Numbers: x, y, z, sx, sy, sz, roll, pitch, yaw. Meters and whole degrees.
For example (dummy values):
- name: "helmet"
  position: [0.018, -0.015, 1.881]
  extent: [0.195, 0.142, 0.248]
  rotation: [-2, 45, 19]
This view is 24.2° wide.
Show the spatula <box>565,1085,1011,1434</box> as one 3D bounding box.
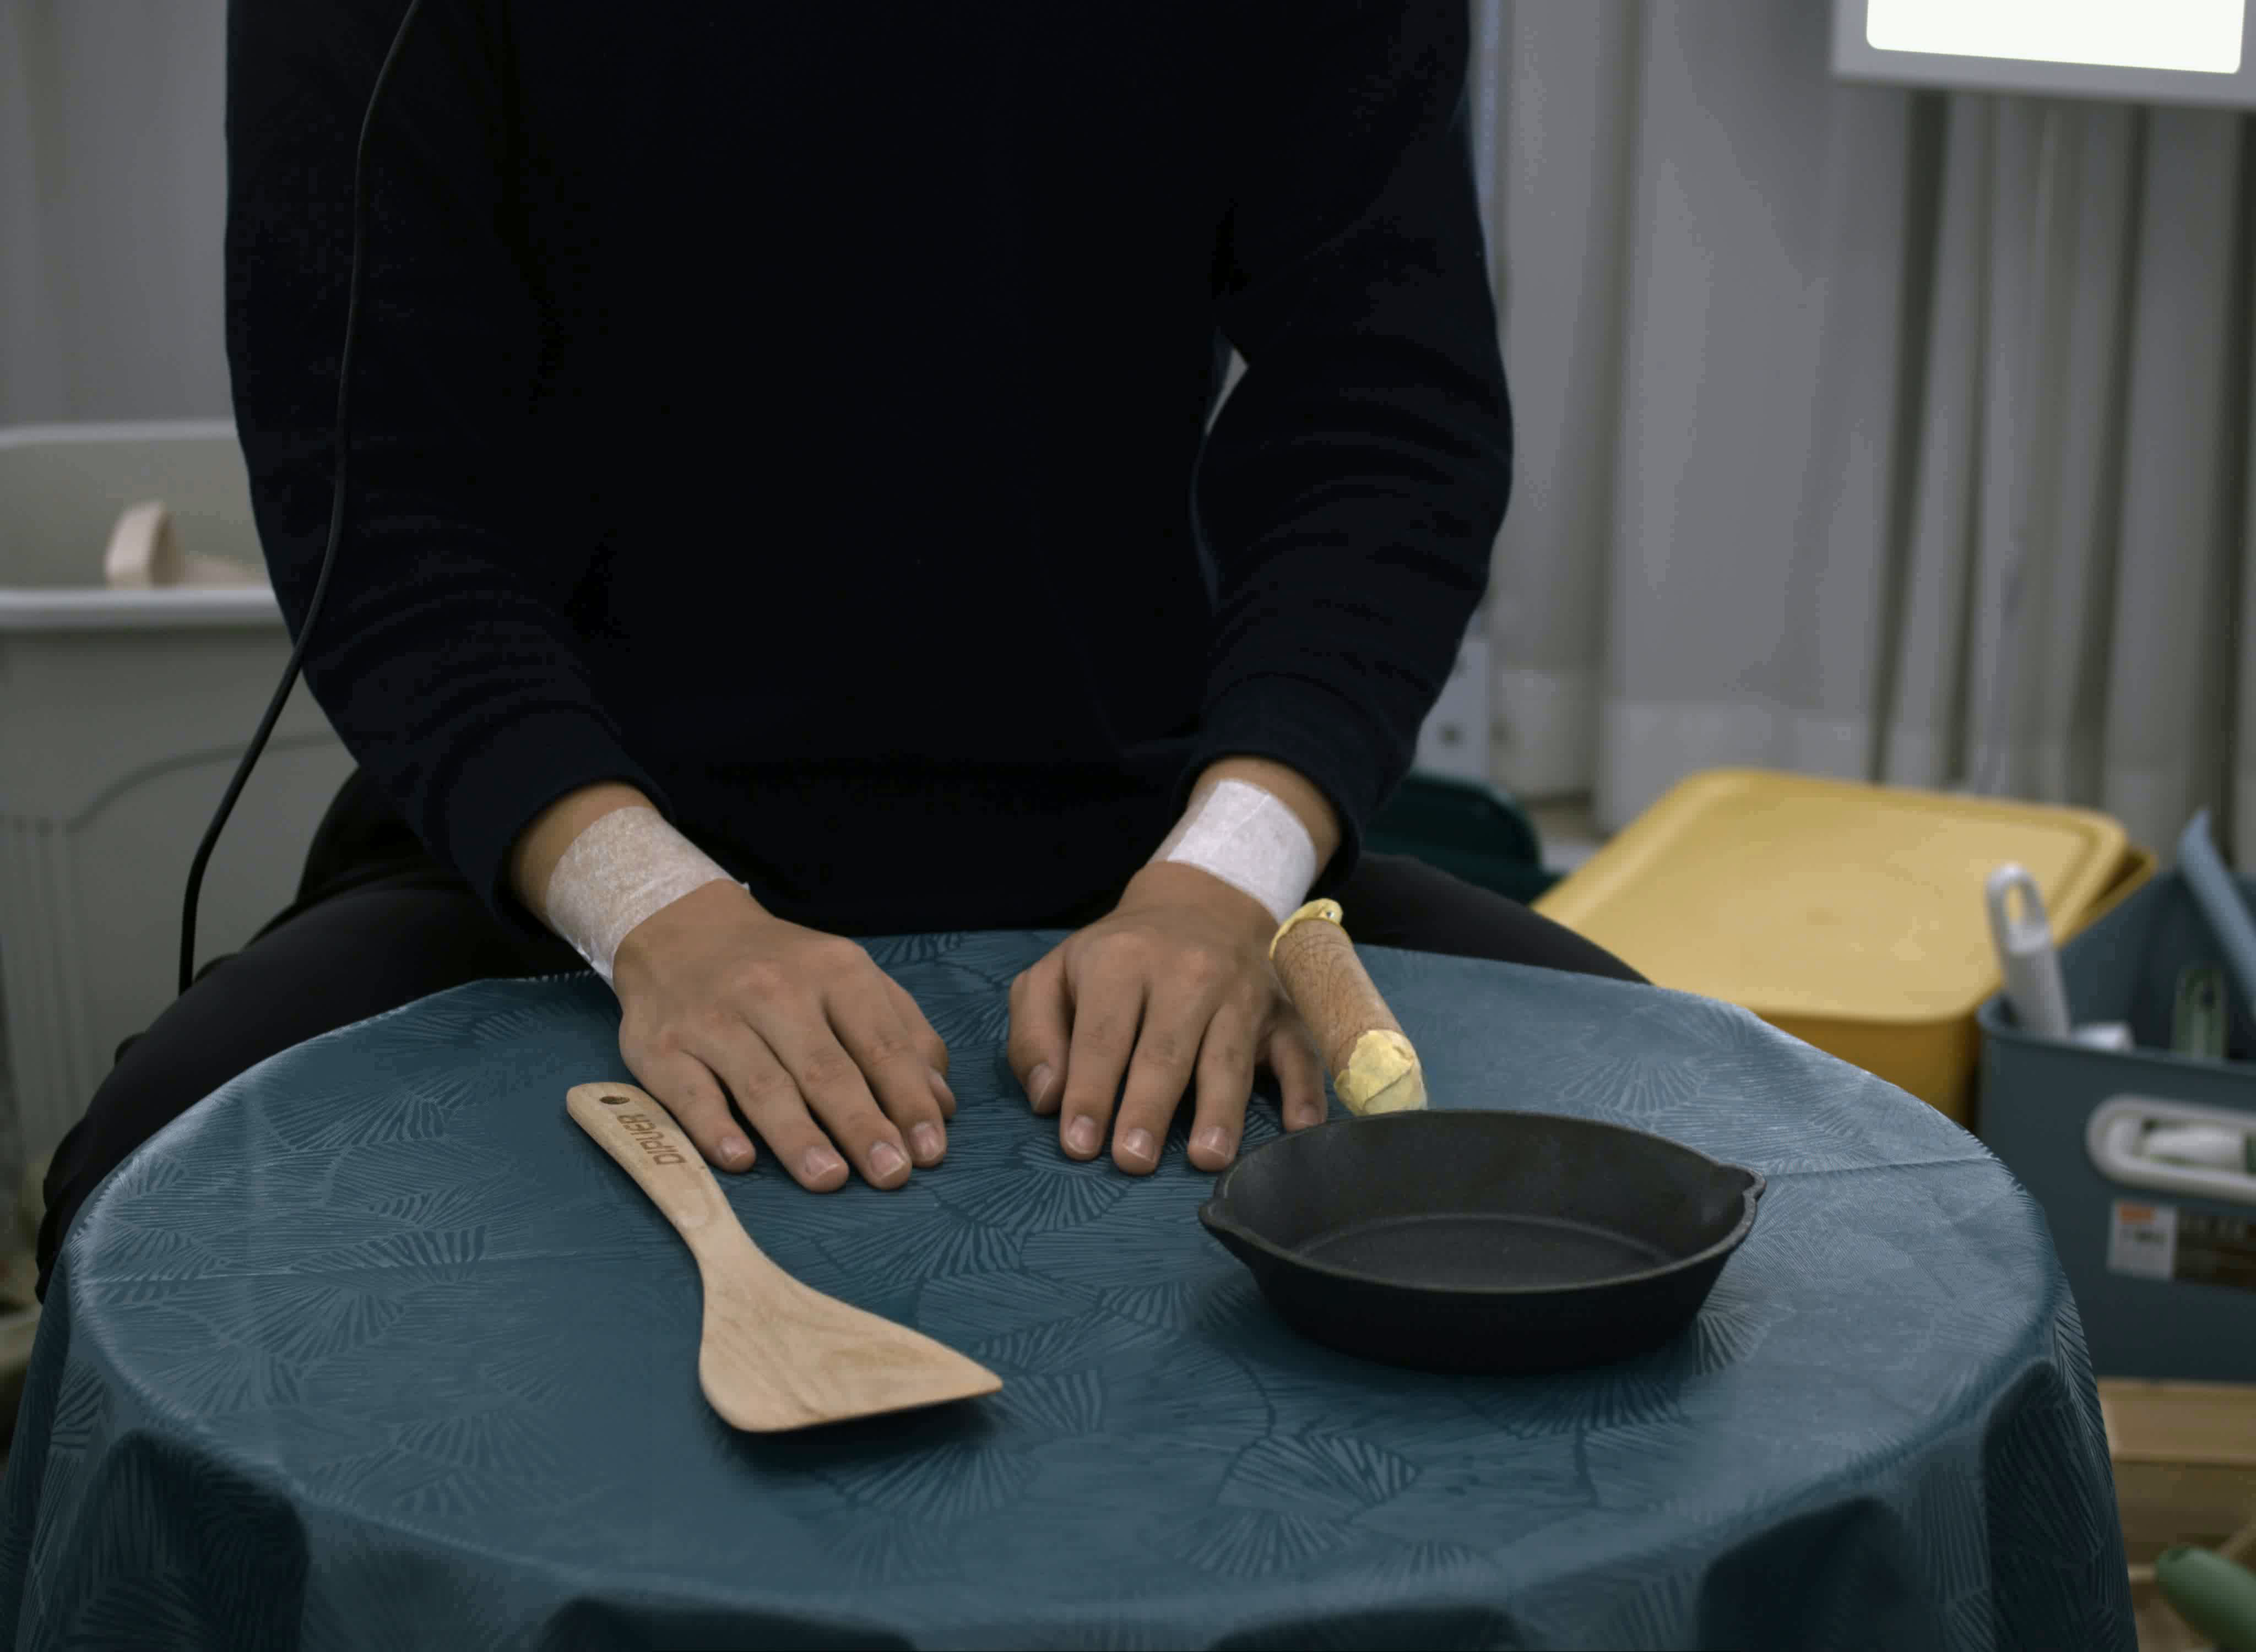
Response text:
- name: "spatula"
  position: [-0.116, 0.123, 1.551]
  extent: [0.080, 0.016, 0.324]
  rotation: [-4, 16, -19]

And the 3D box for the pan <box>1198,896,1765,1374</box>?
- name: "pan"
  position: [0.089, 0.091, 1.608]
  extent: [0.169, 0.050, 0.321]
  rotation: [-2, 17, -10]
